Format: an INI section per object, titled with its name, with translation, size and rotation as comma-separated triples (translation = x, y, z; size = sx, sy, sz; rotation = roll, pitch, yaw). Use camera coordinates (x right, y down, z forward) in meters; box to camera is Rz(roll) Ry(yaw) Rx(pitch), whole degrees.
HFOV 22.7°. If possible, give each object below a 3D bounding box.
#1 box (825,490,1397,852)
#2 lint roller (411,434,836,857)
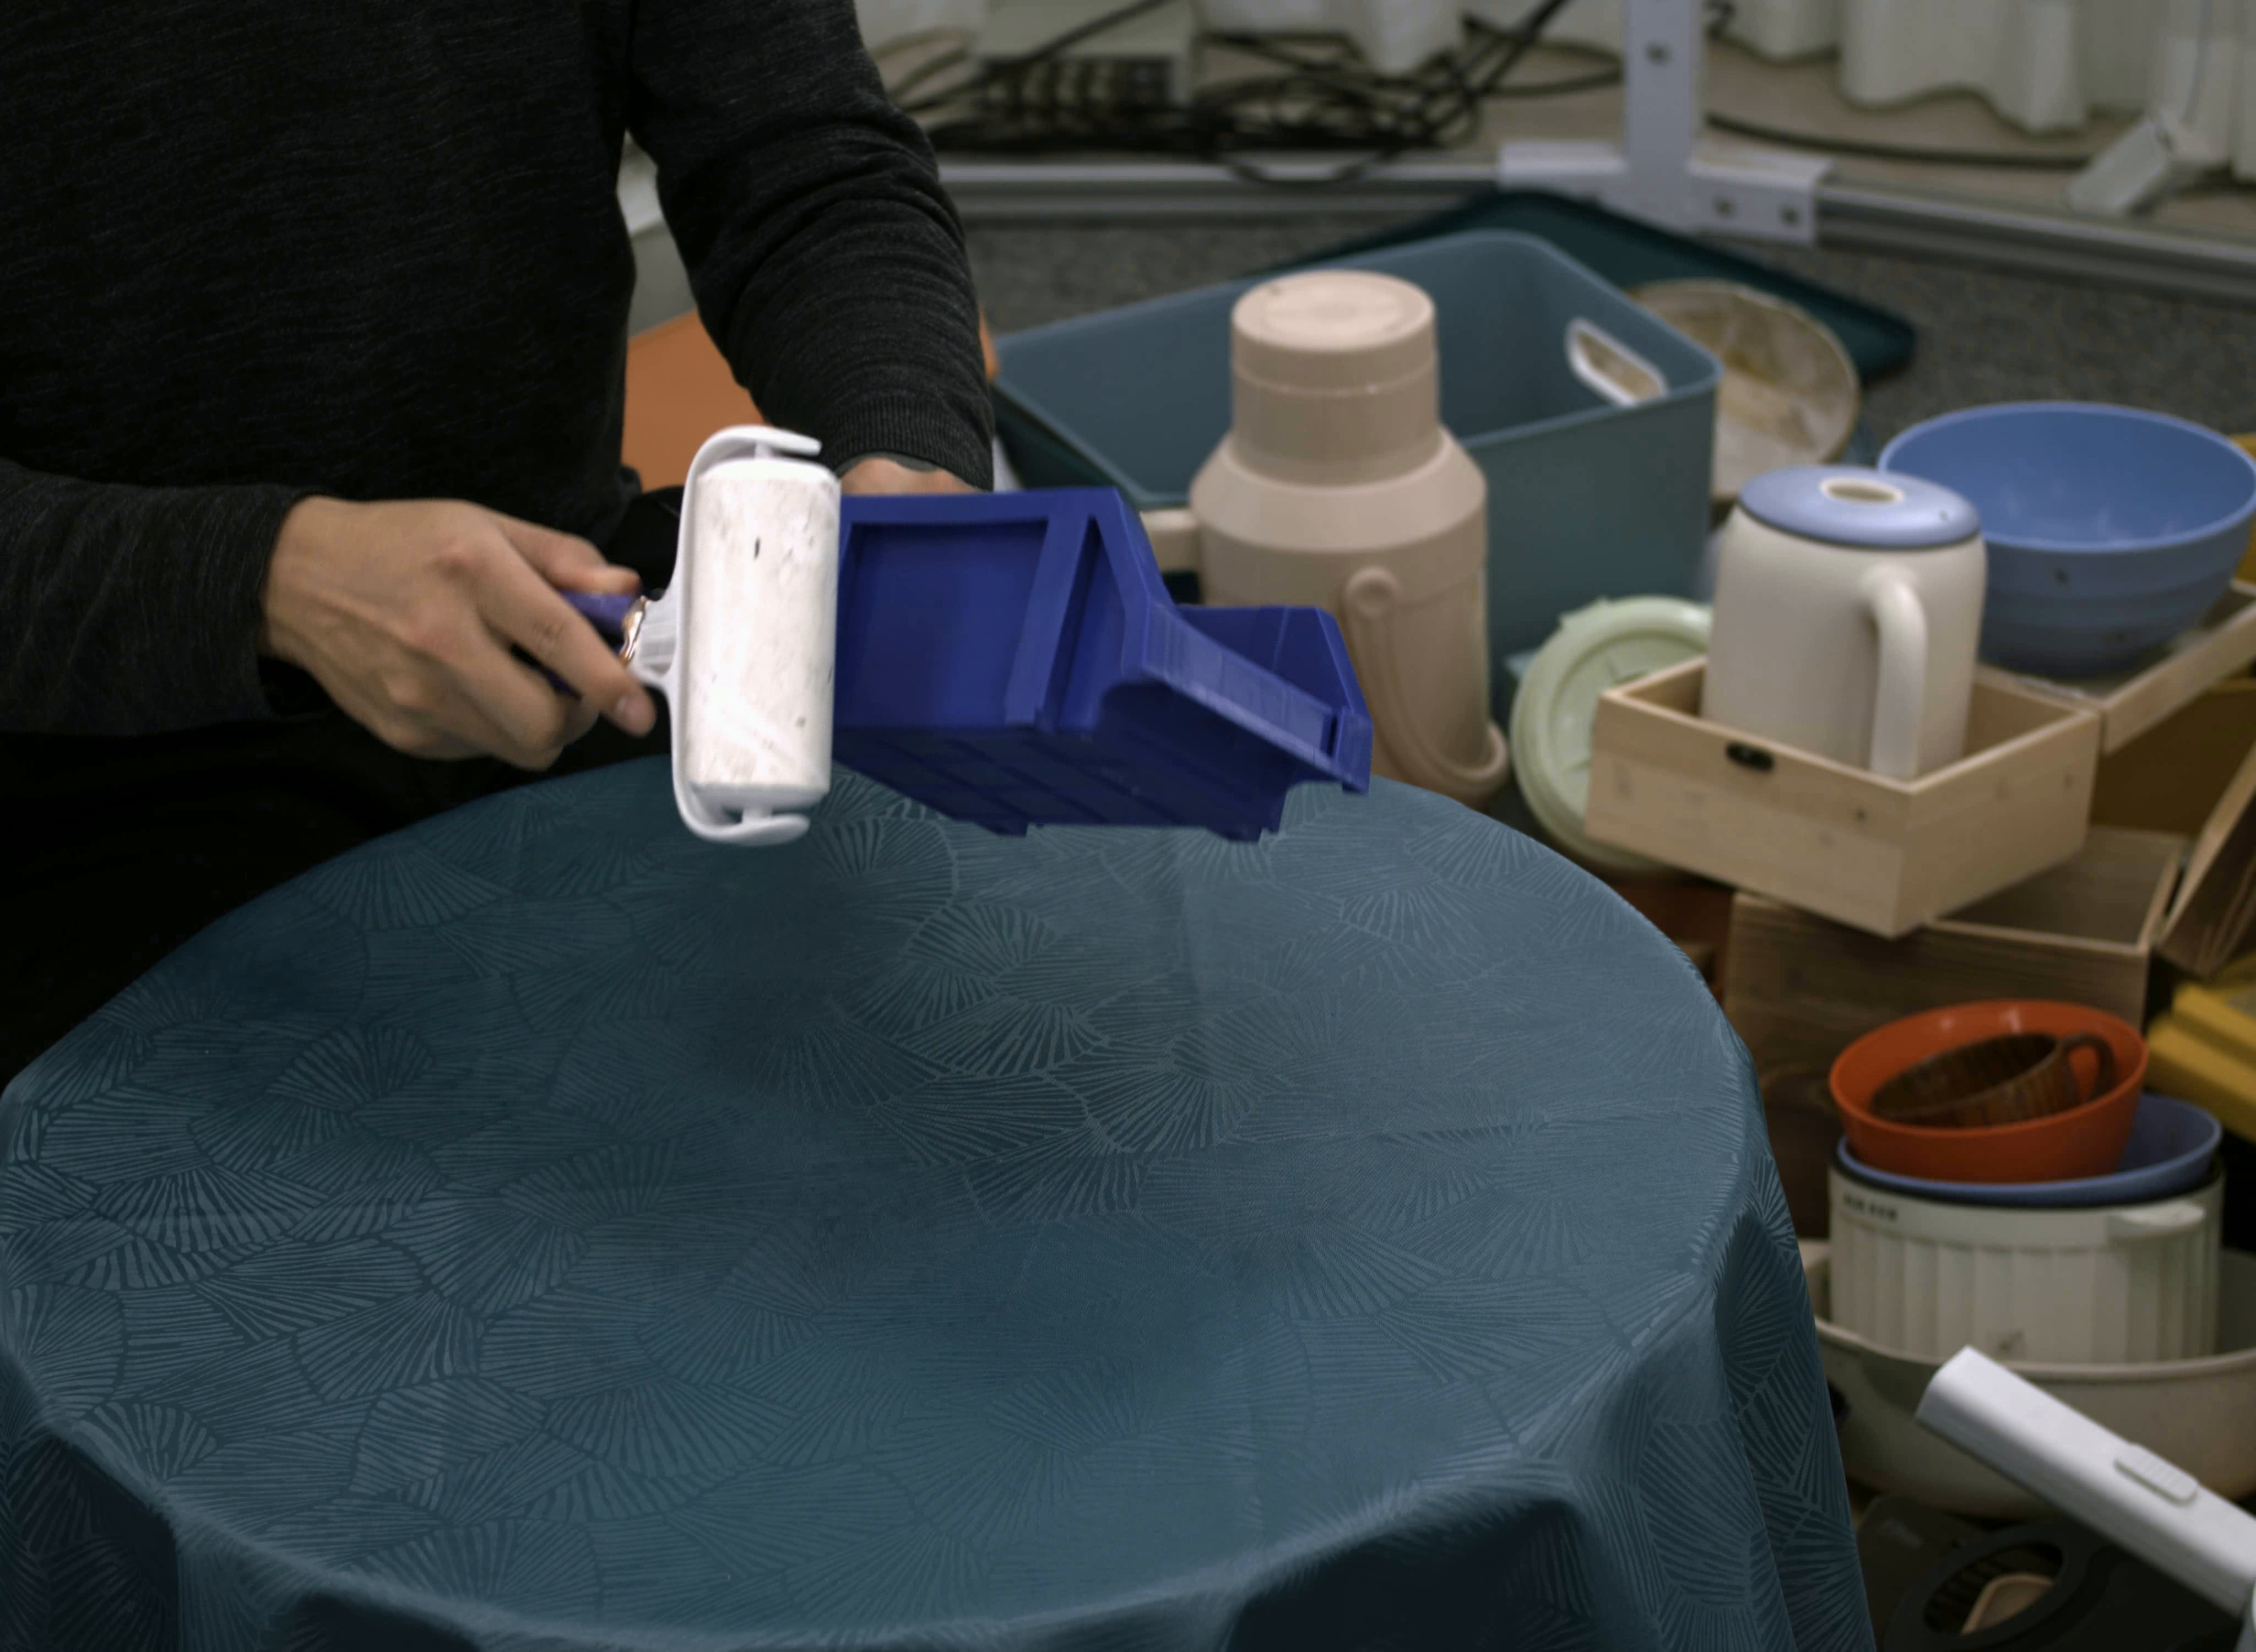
[box]
translation = -0.012, -0.049, 1.852
size = 0.177, 0.083, 0.124
rotation = -3, -21, 41
[lint roller]
translation = -0.171, -0.058, 1.813
size = 0.179, 0.134, 0.050
rotation = 1, -3, 32
